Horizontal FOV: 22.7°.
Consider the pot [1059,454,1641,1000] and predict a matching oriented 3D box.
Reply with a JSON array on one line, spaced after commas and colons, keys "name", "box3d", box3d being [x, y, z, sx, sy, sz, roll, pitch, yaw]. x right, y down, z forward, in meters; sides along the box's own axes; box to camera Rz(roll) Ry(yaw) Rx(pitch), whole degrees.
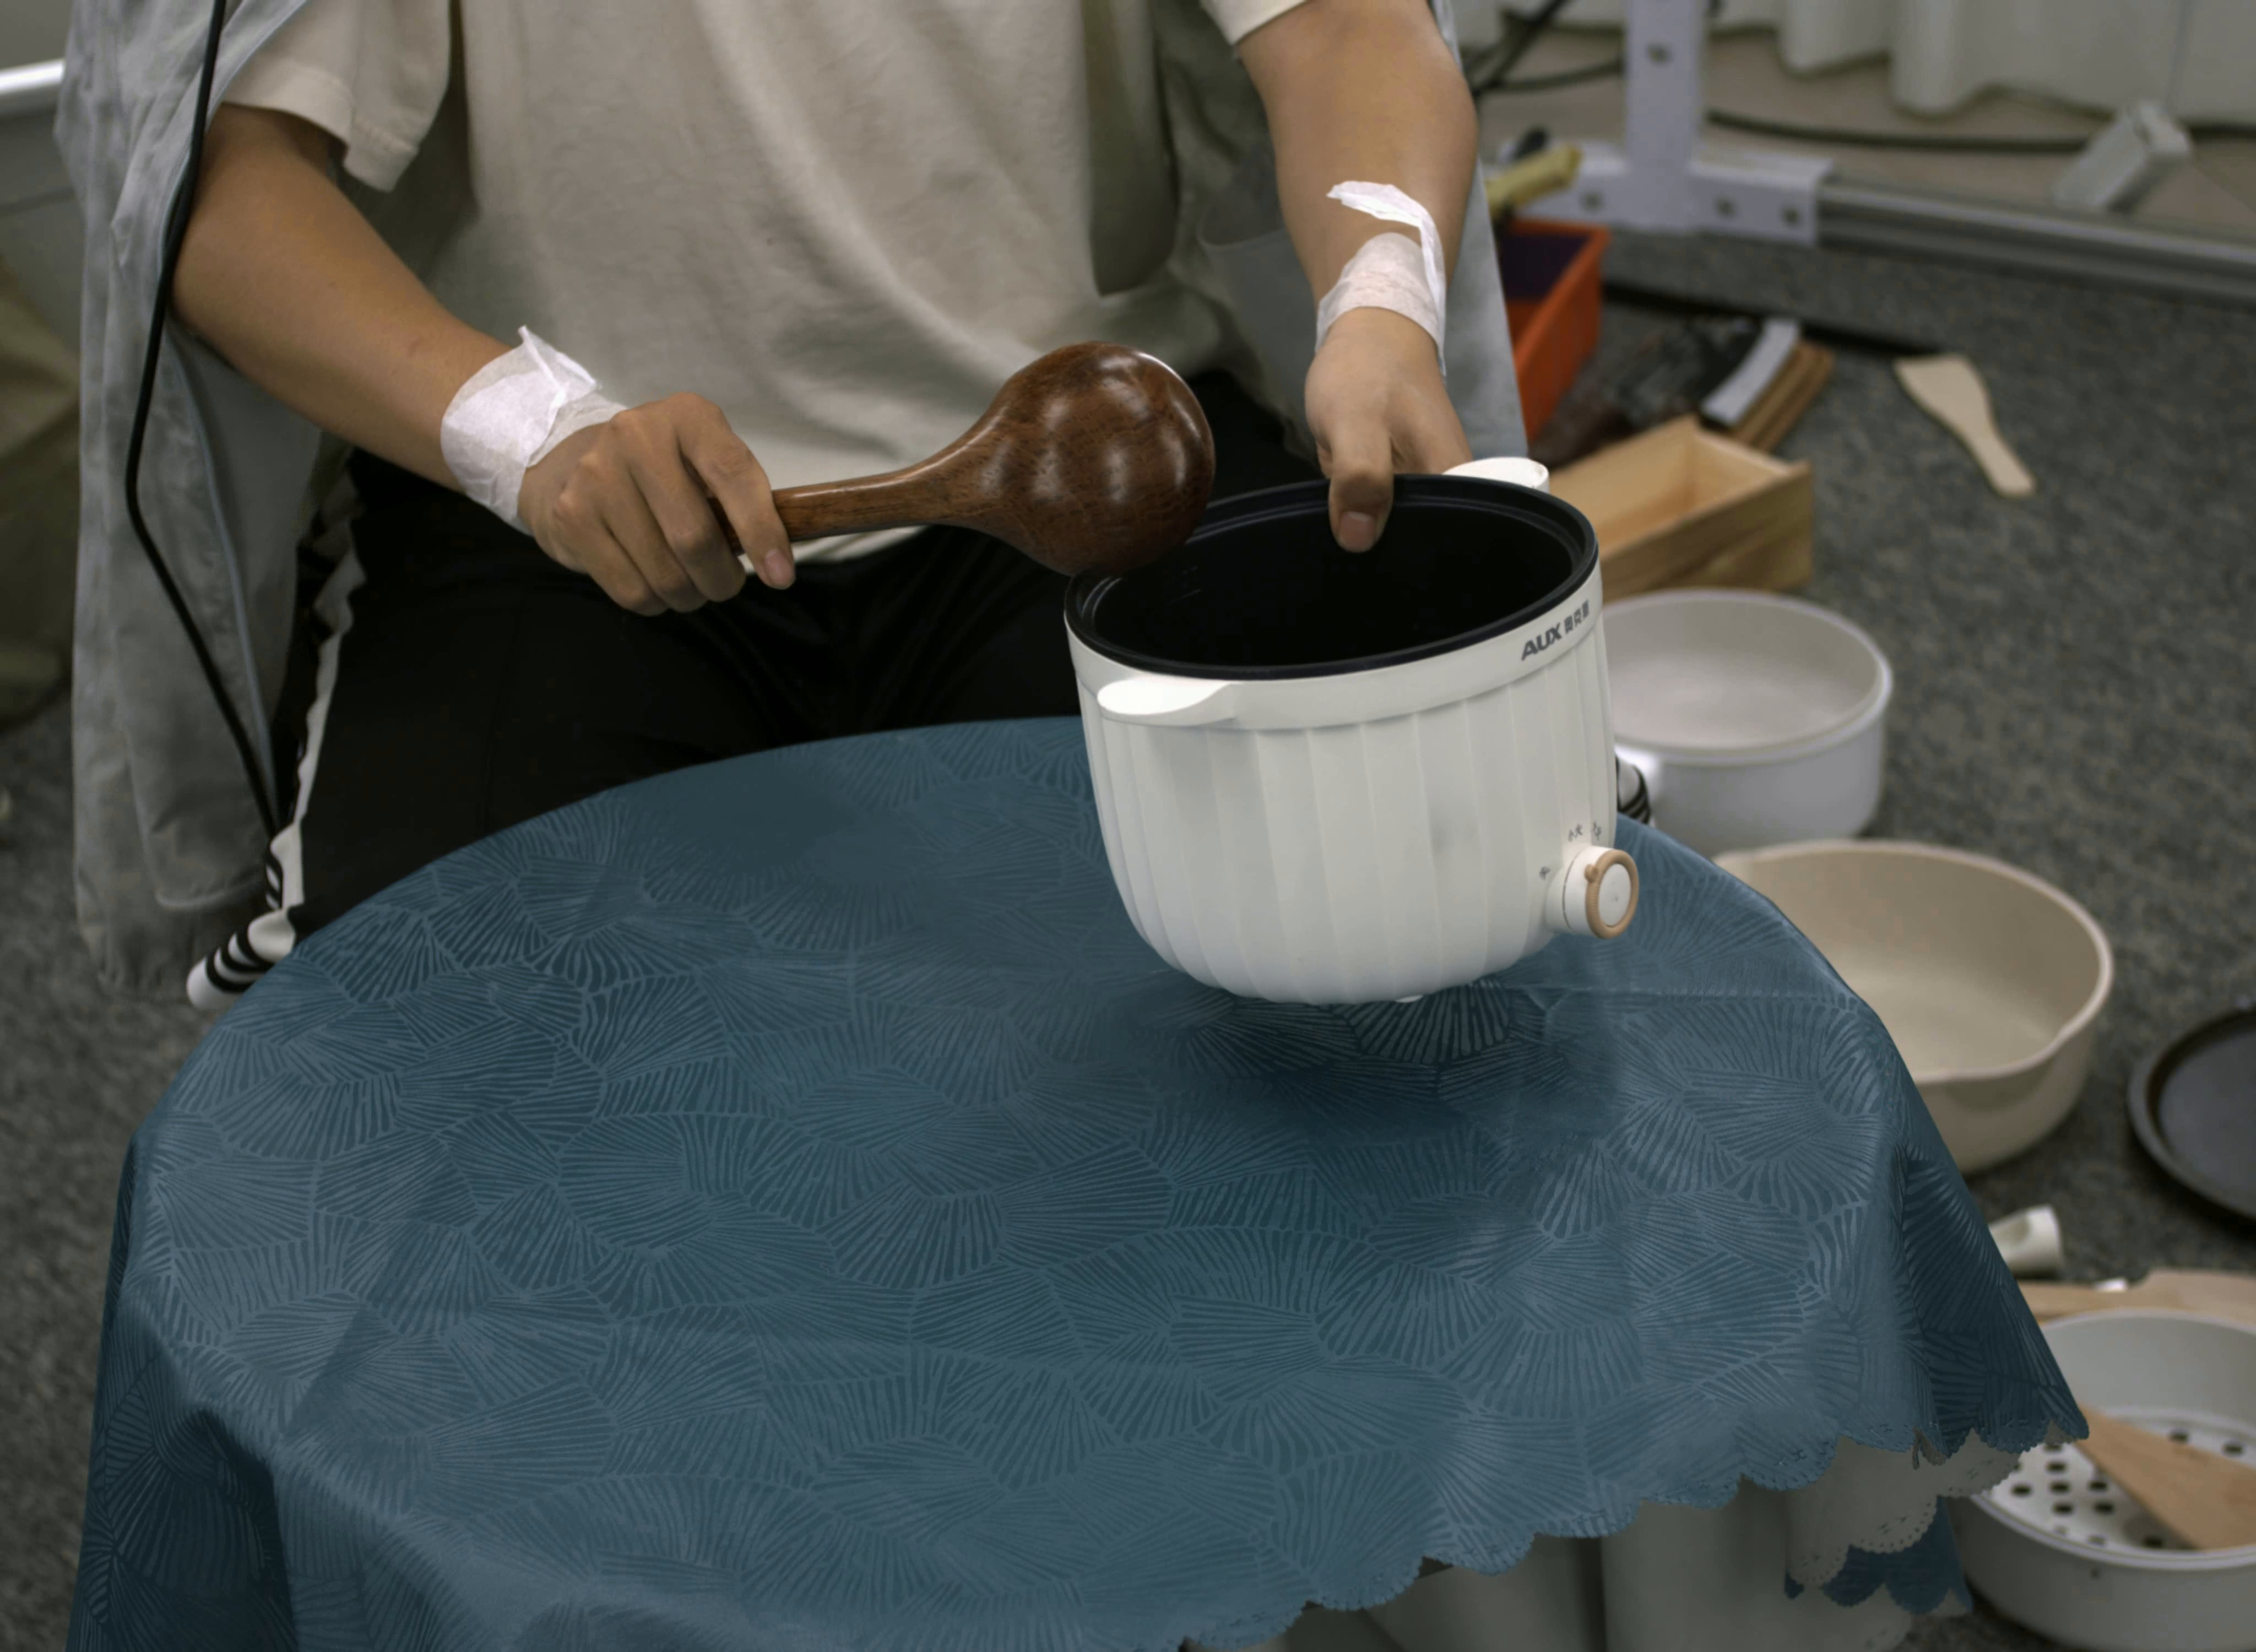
[{"name": "pot", "box3d": [0.080, -0.027, 1.908, 0.189, 0.141, 0.244, 4, 25, 37]}]

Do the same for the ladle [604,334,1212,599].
[{"name": "ladle", "box3d": [-0.078, -0.115, 1.981, 0.077, 0.082, 0.271, -5, -3, -40]}]
